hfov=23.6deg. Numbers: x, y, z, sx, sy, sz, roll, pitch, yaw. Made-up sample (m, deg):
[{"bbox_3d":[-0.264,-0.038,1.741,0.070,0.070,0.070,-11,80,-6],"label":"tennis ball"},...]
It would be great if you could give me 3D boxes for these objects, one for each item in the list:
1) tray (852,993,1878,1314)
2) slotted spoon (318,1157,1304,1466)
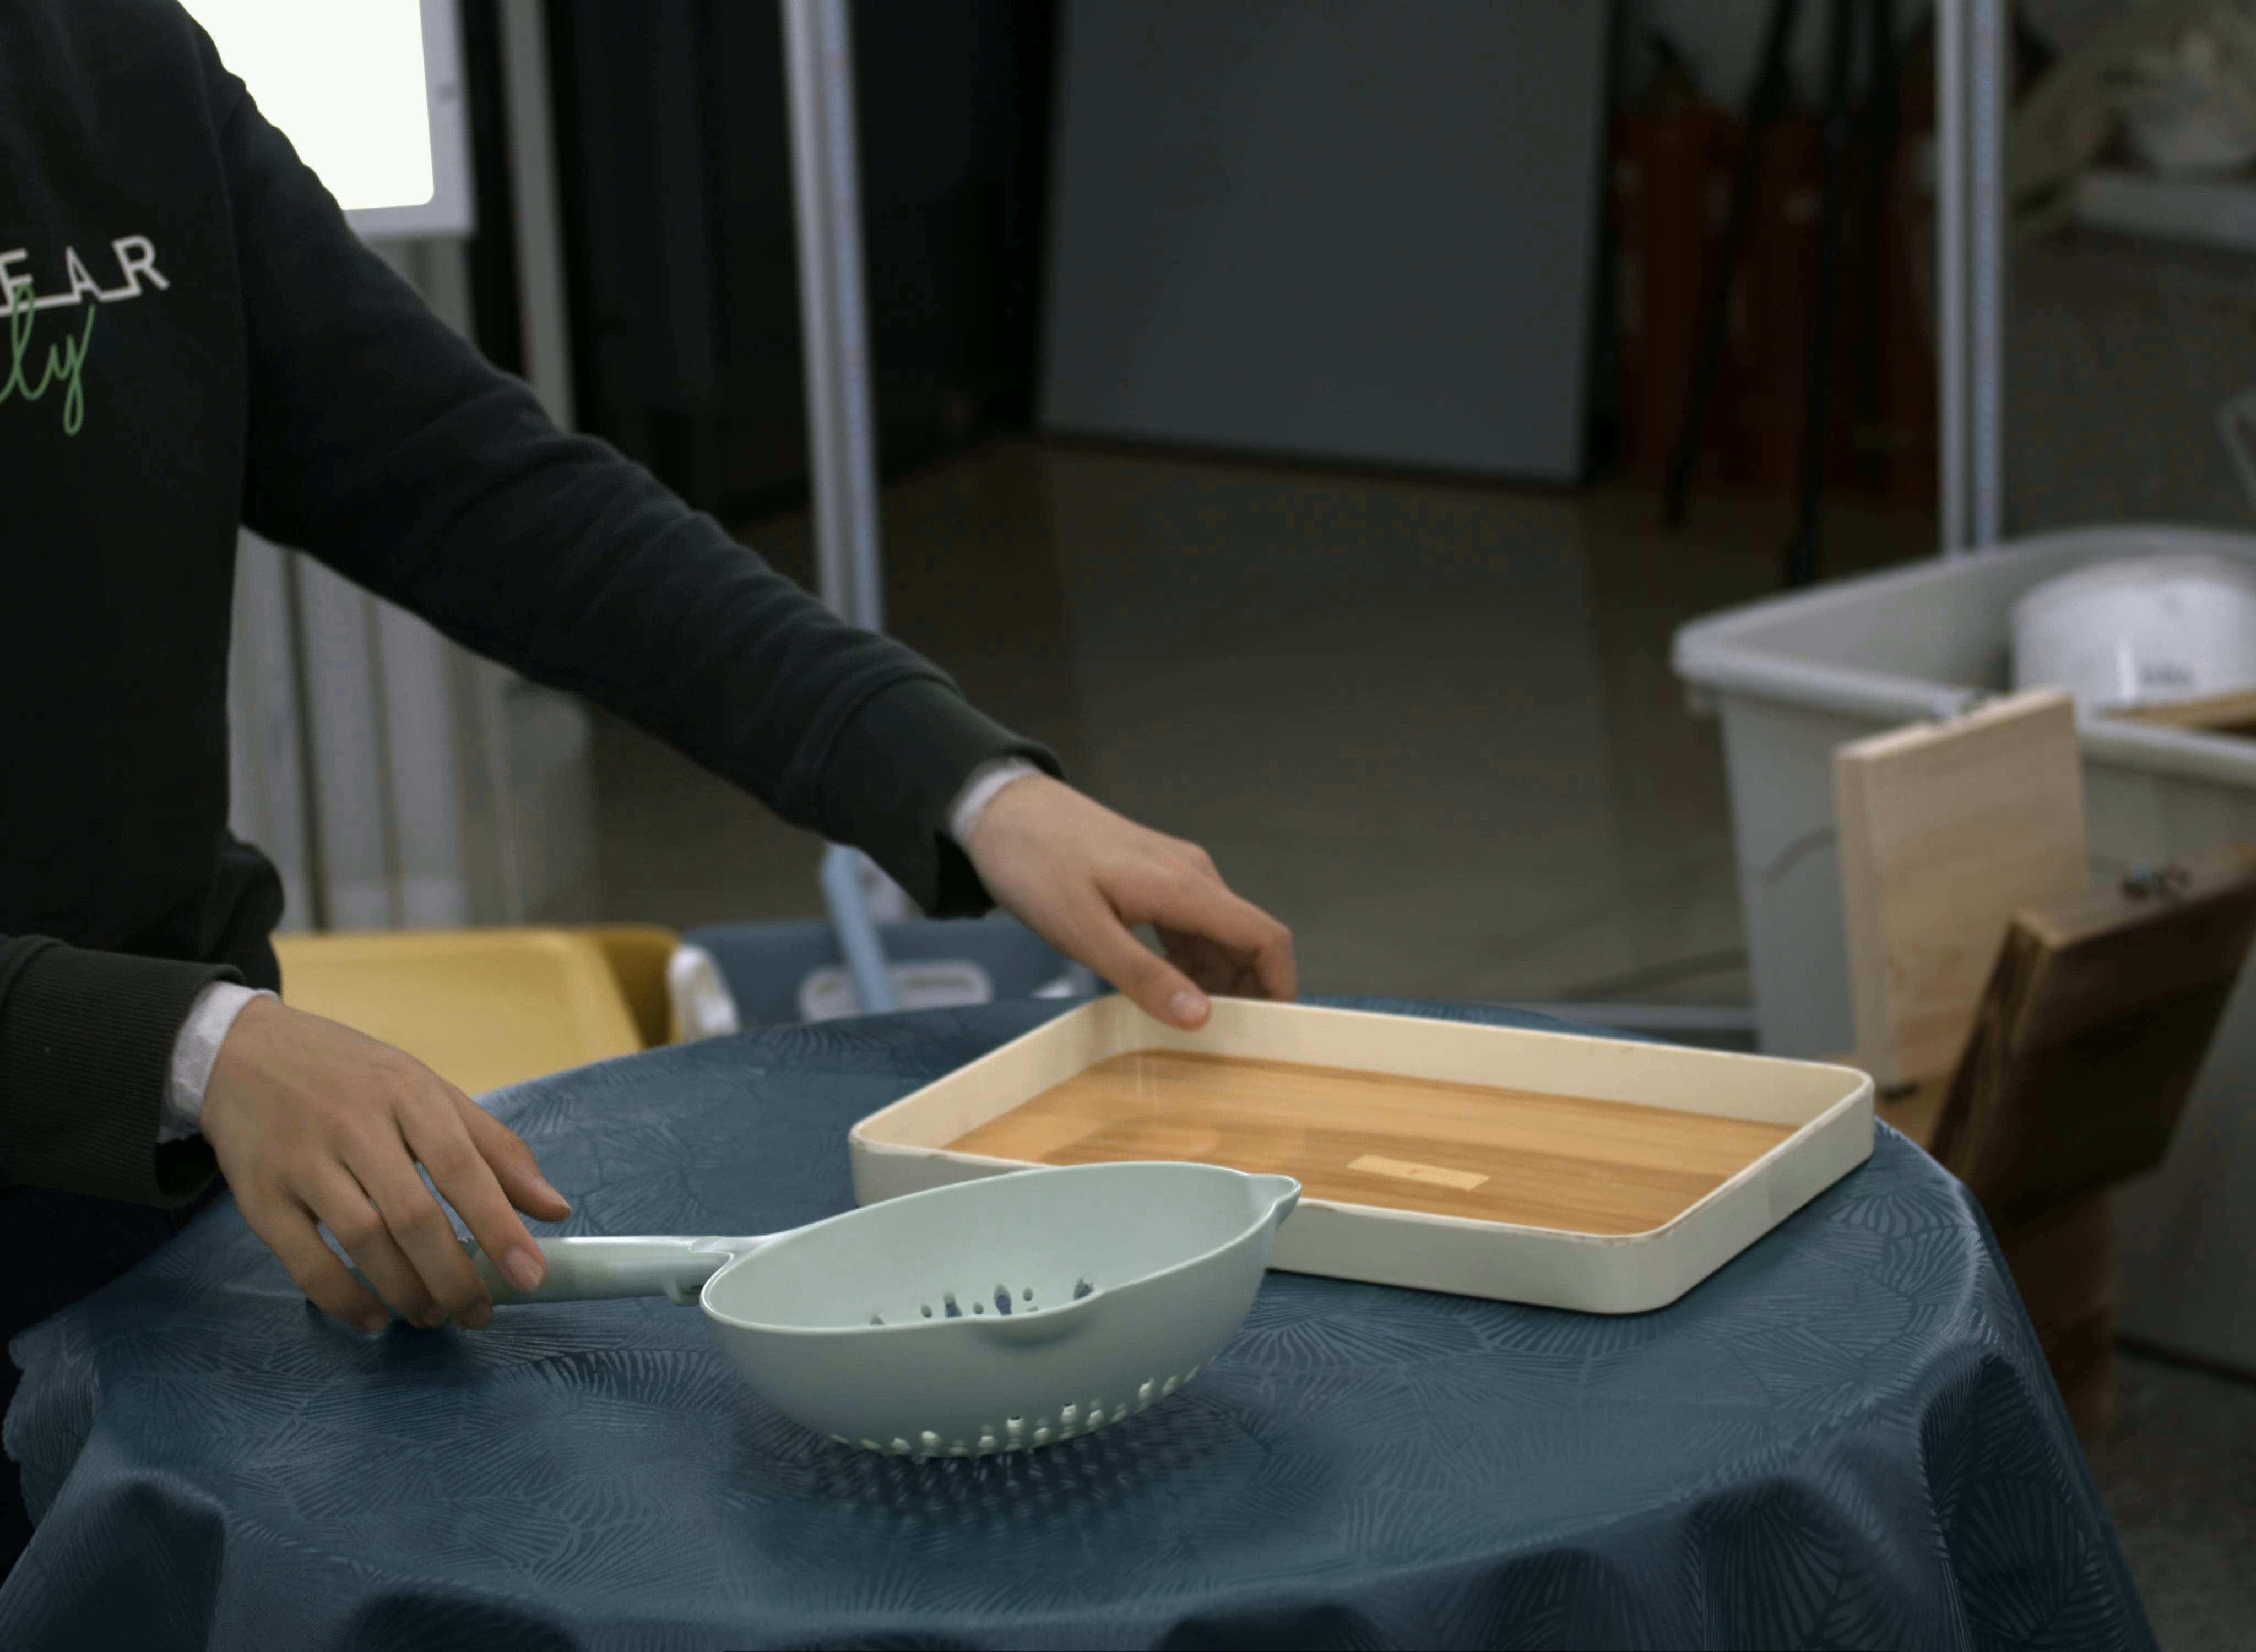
[{"bbox_3d":[0.078,0.104,1.763,0.302,0.028,0.188,5,17,32],"label":"tray"},{"bbox_3d":[-0.114,0.137,1.608,0.361,0.076,0.166,6,16,36],"label":"slotted spoon"}]
